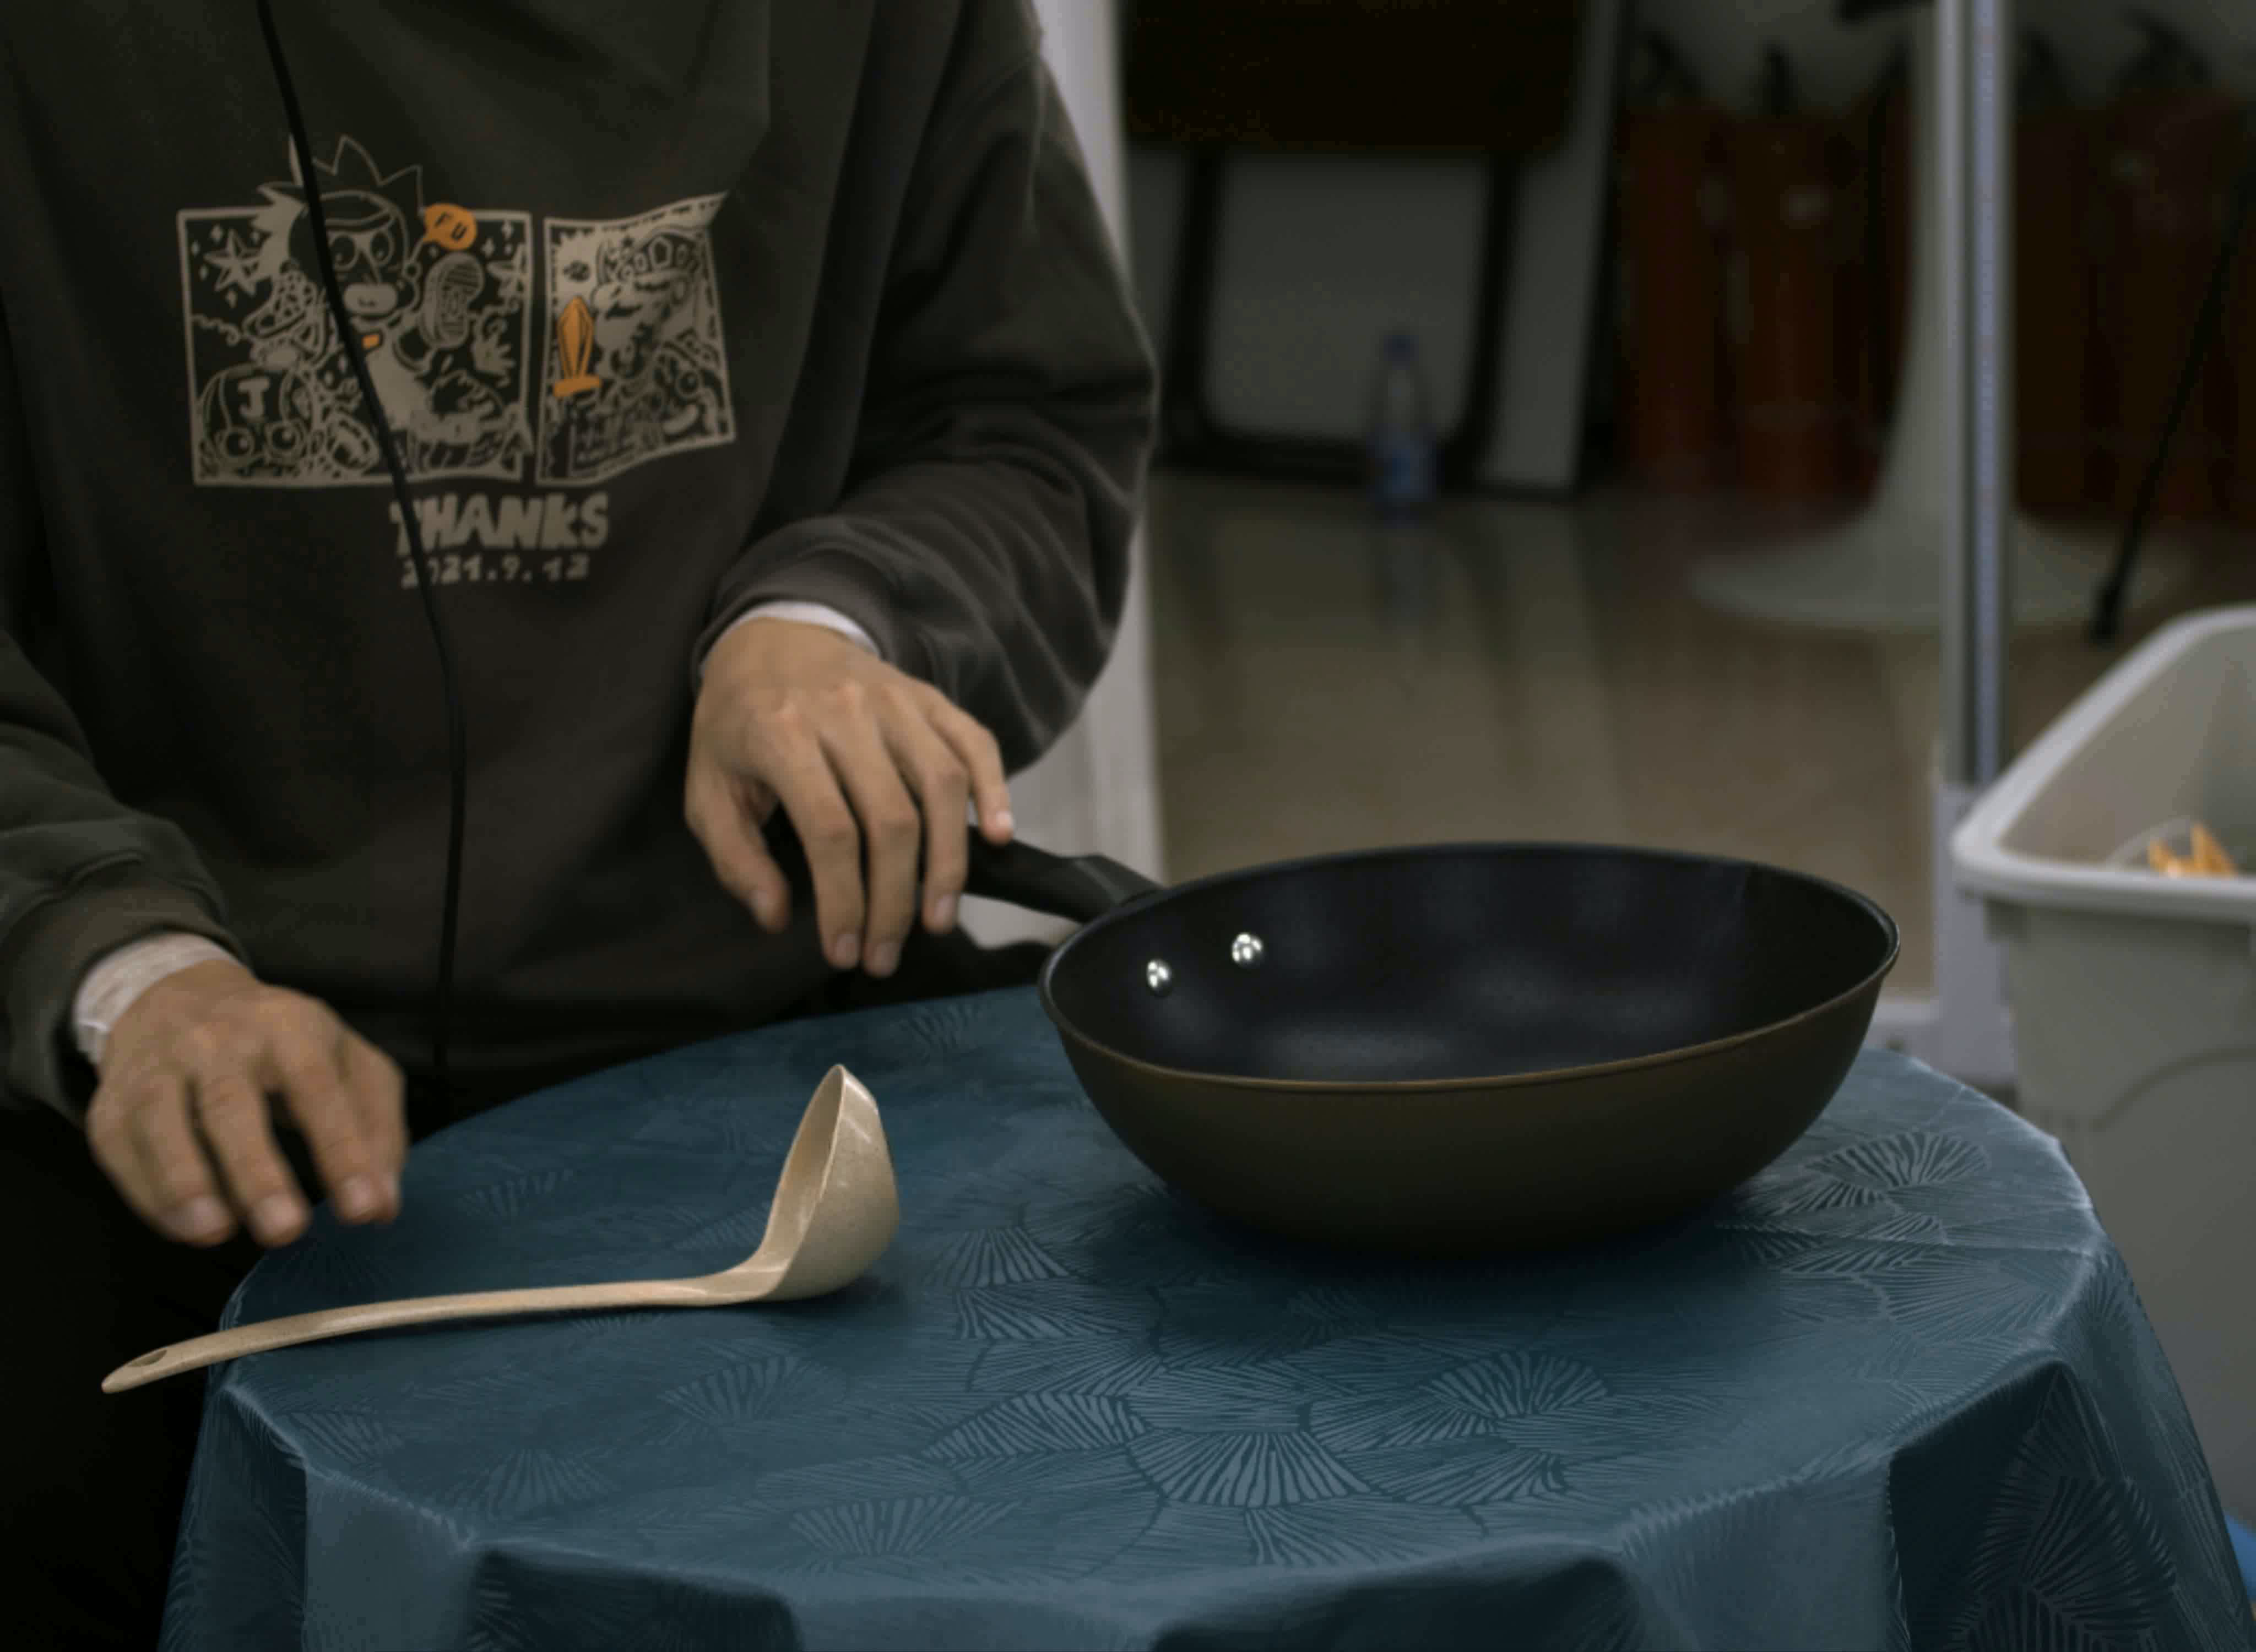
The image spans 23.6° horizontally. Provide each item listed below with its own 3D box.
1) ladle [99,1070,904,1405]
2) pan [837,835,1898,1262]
[{"bbox_3d":[-0.195,0.126,1.675,0.250,0.073,0.072,-7,17,-7],"label":"ladle"},{"bbox_3d":[0.050,0.068,1.807,0.282,0.088,0.468,-15,16,-39],"label":"pan"}]
